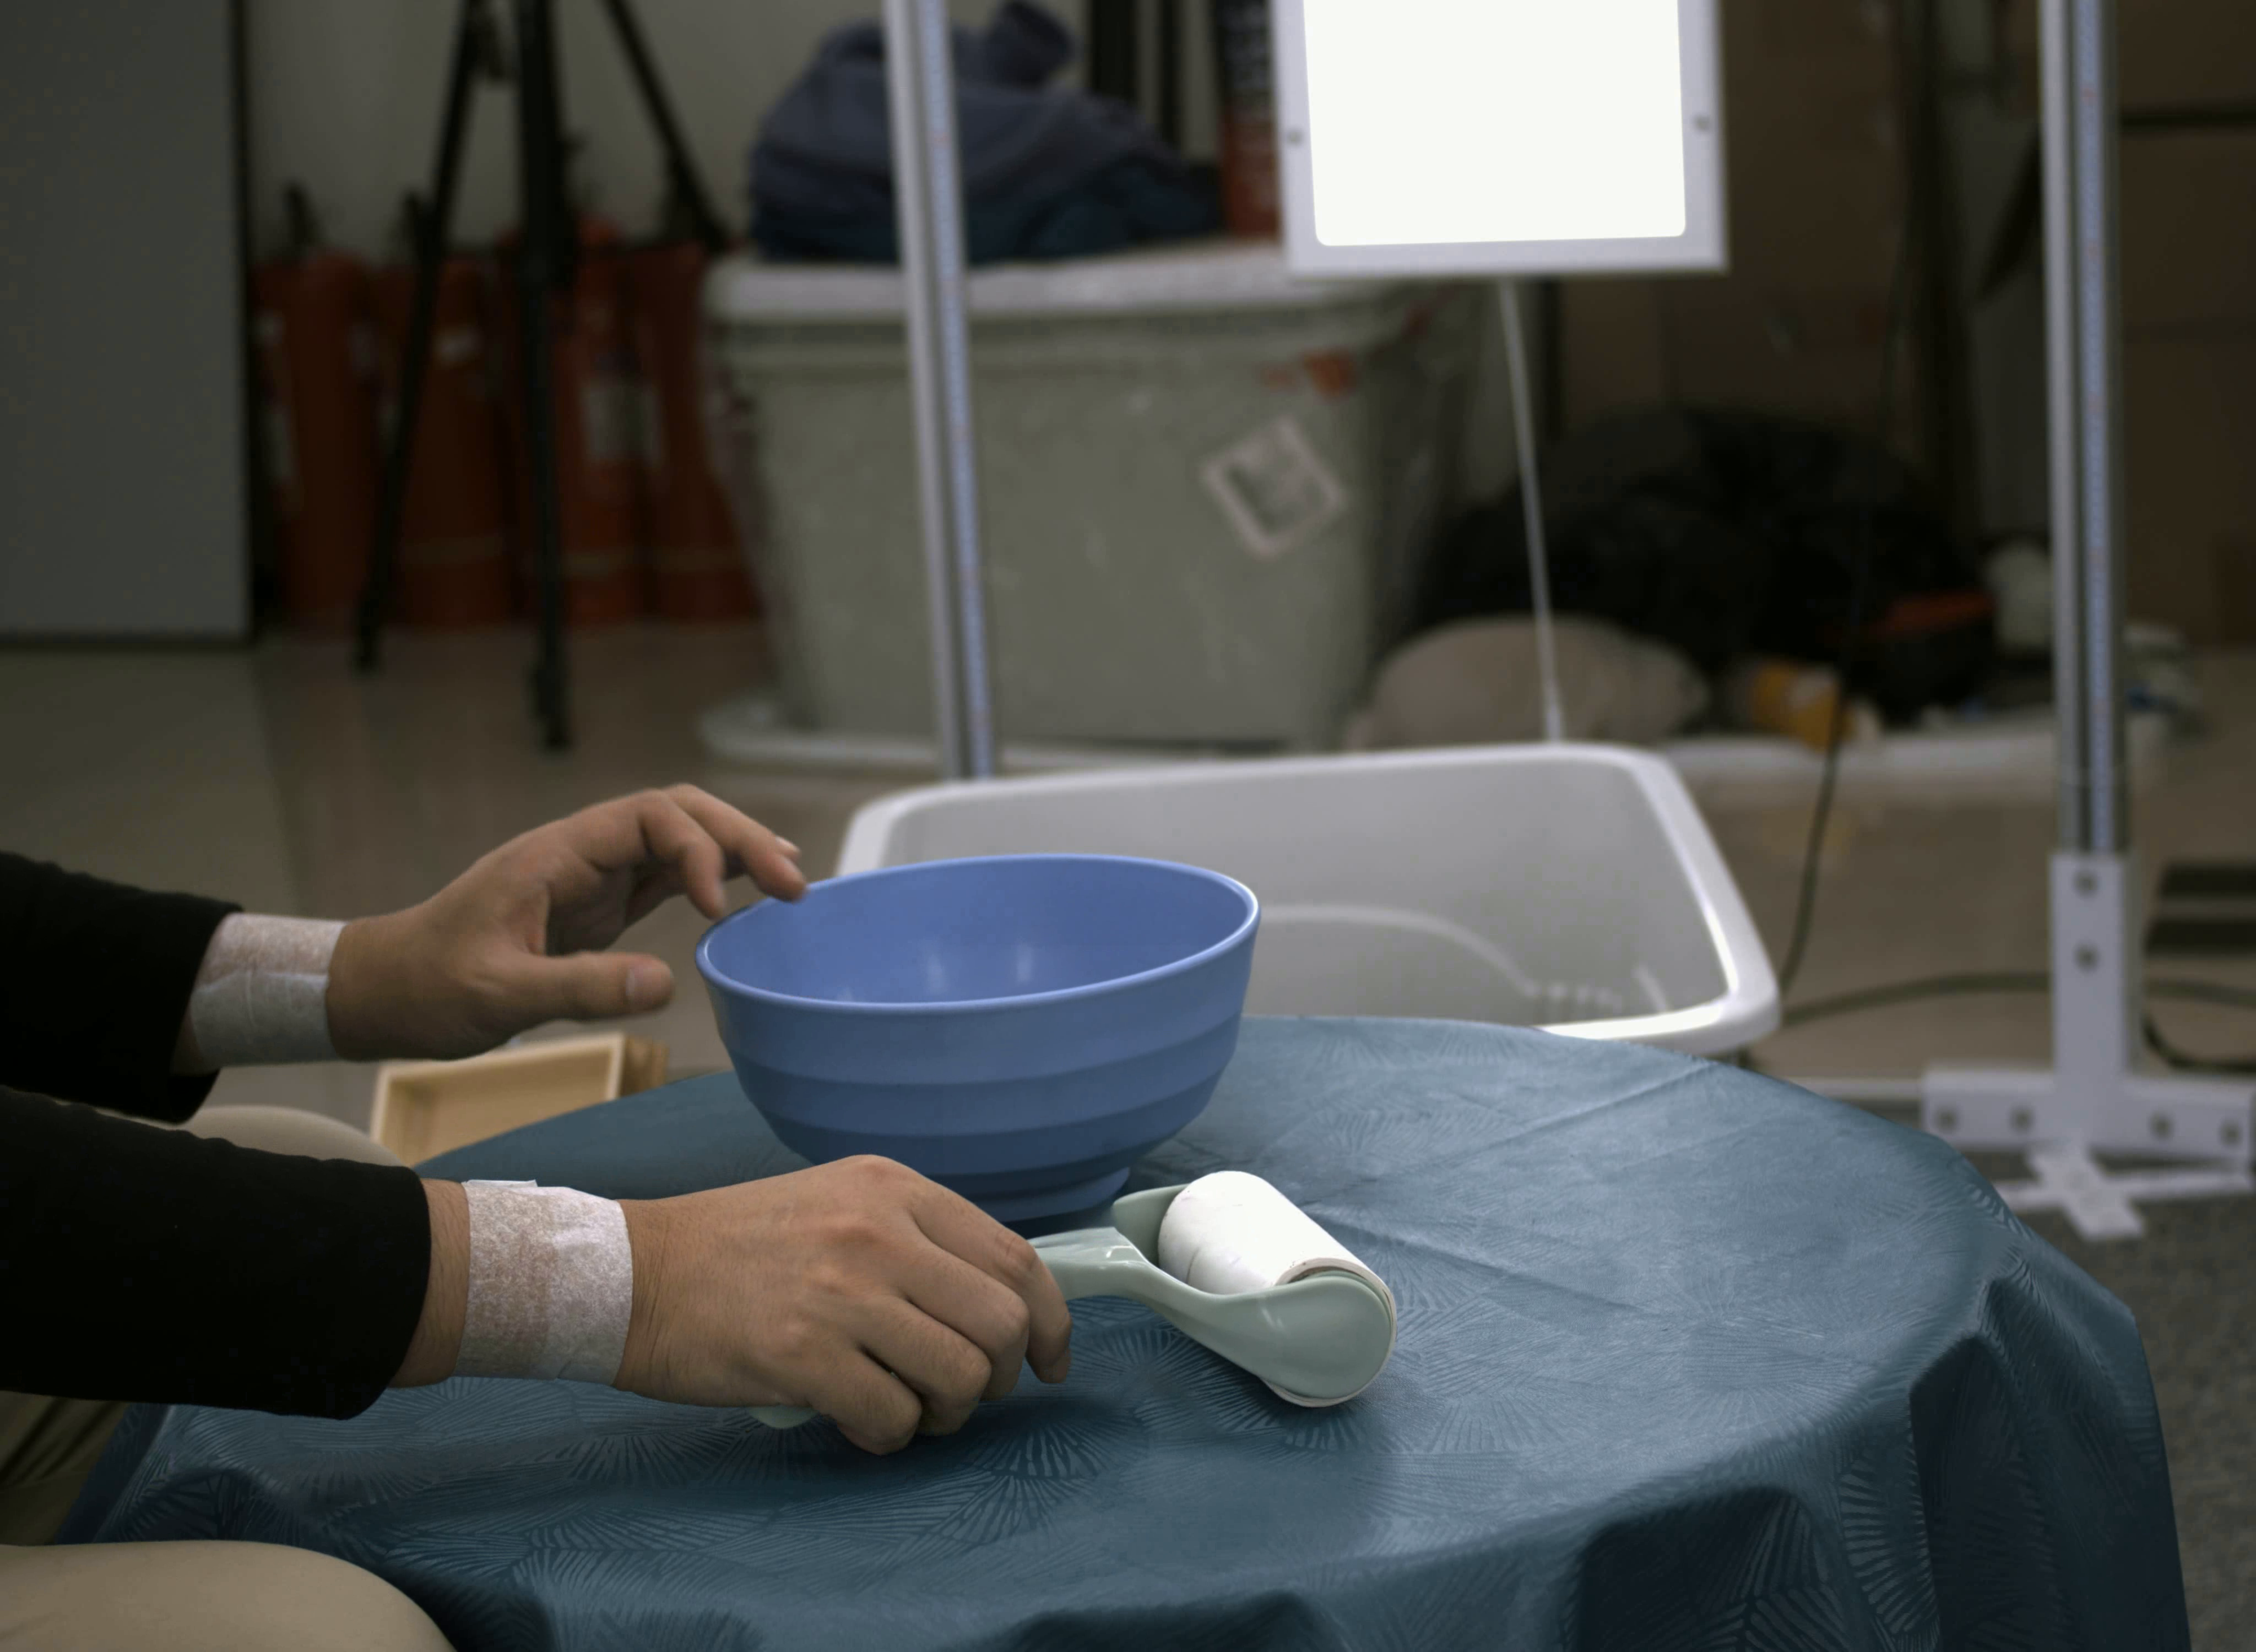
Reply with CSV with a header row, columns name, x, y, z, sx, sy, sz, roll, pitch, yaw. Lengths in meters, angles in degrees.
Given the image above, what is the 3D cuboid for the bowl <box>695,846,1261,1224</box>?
name,x,y,z,sx,sy,sz,roll,pitch,yaw
bowl,-0.049,0.078,1.909,0.196,0.096,0.196,-5,15,0

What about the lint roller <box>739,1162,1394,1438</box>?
name,x,y,z,sx,sy,sz,roll,pitch,yaw
lint roller,-0.026,0.150,1.703,0.195,0.049,0.118,-7,15,-15
